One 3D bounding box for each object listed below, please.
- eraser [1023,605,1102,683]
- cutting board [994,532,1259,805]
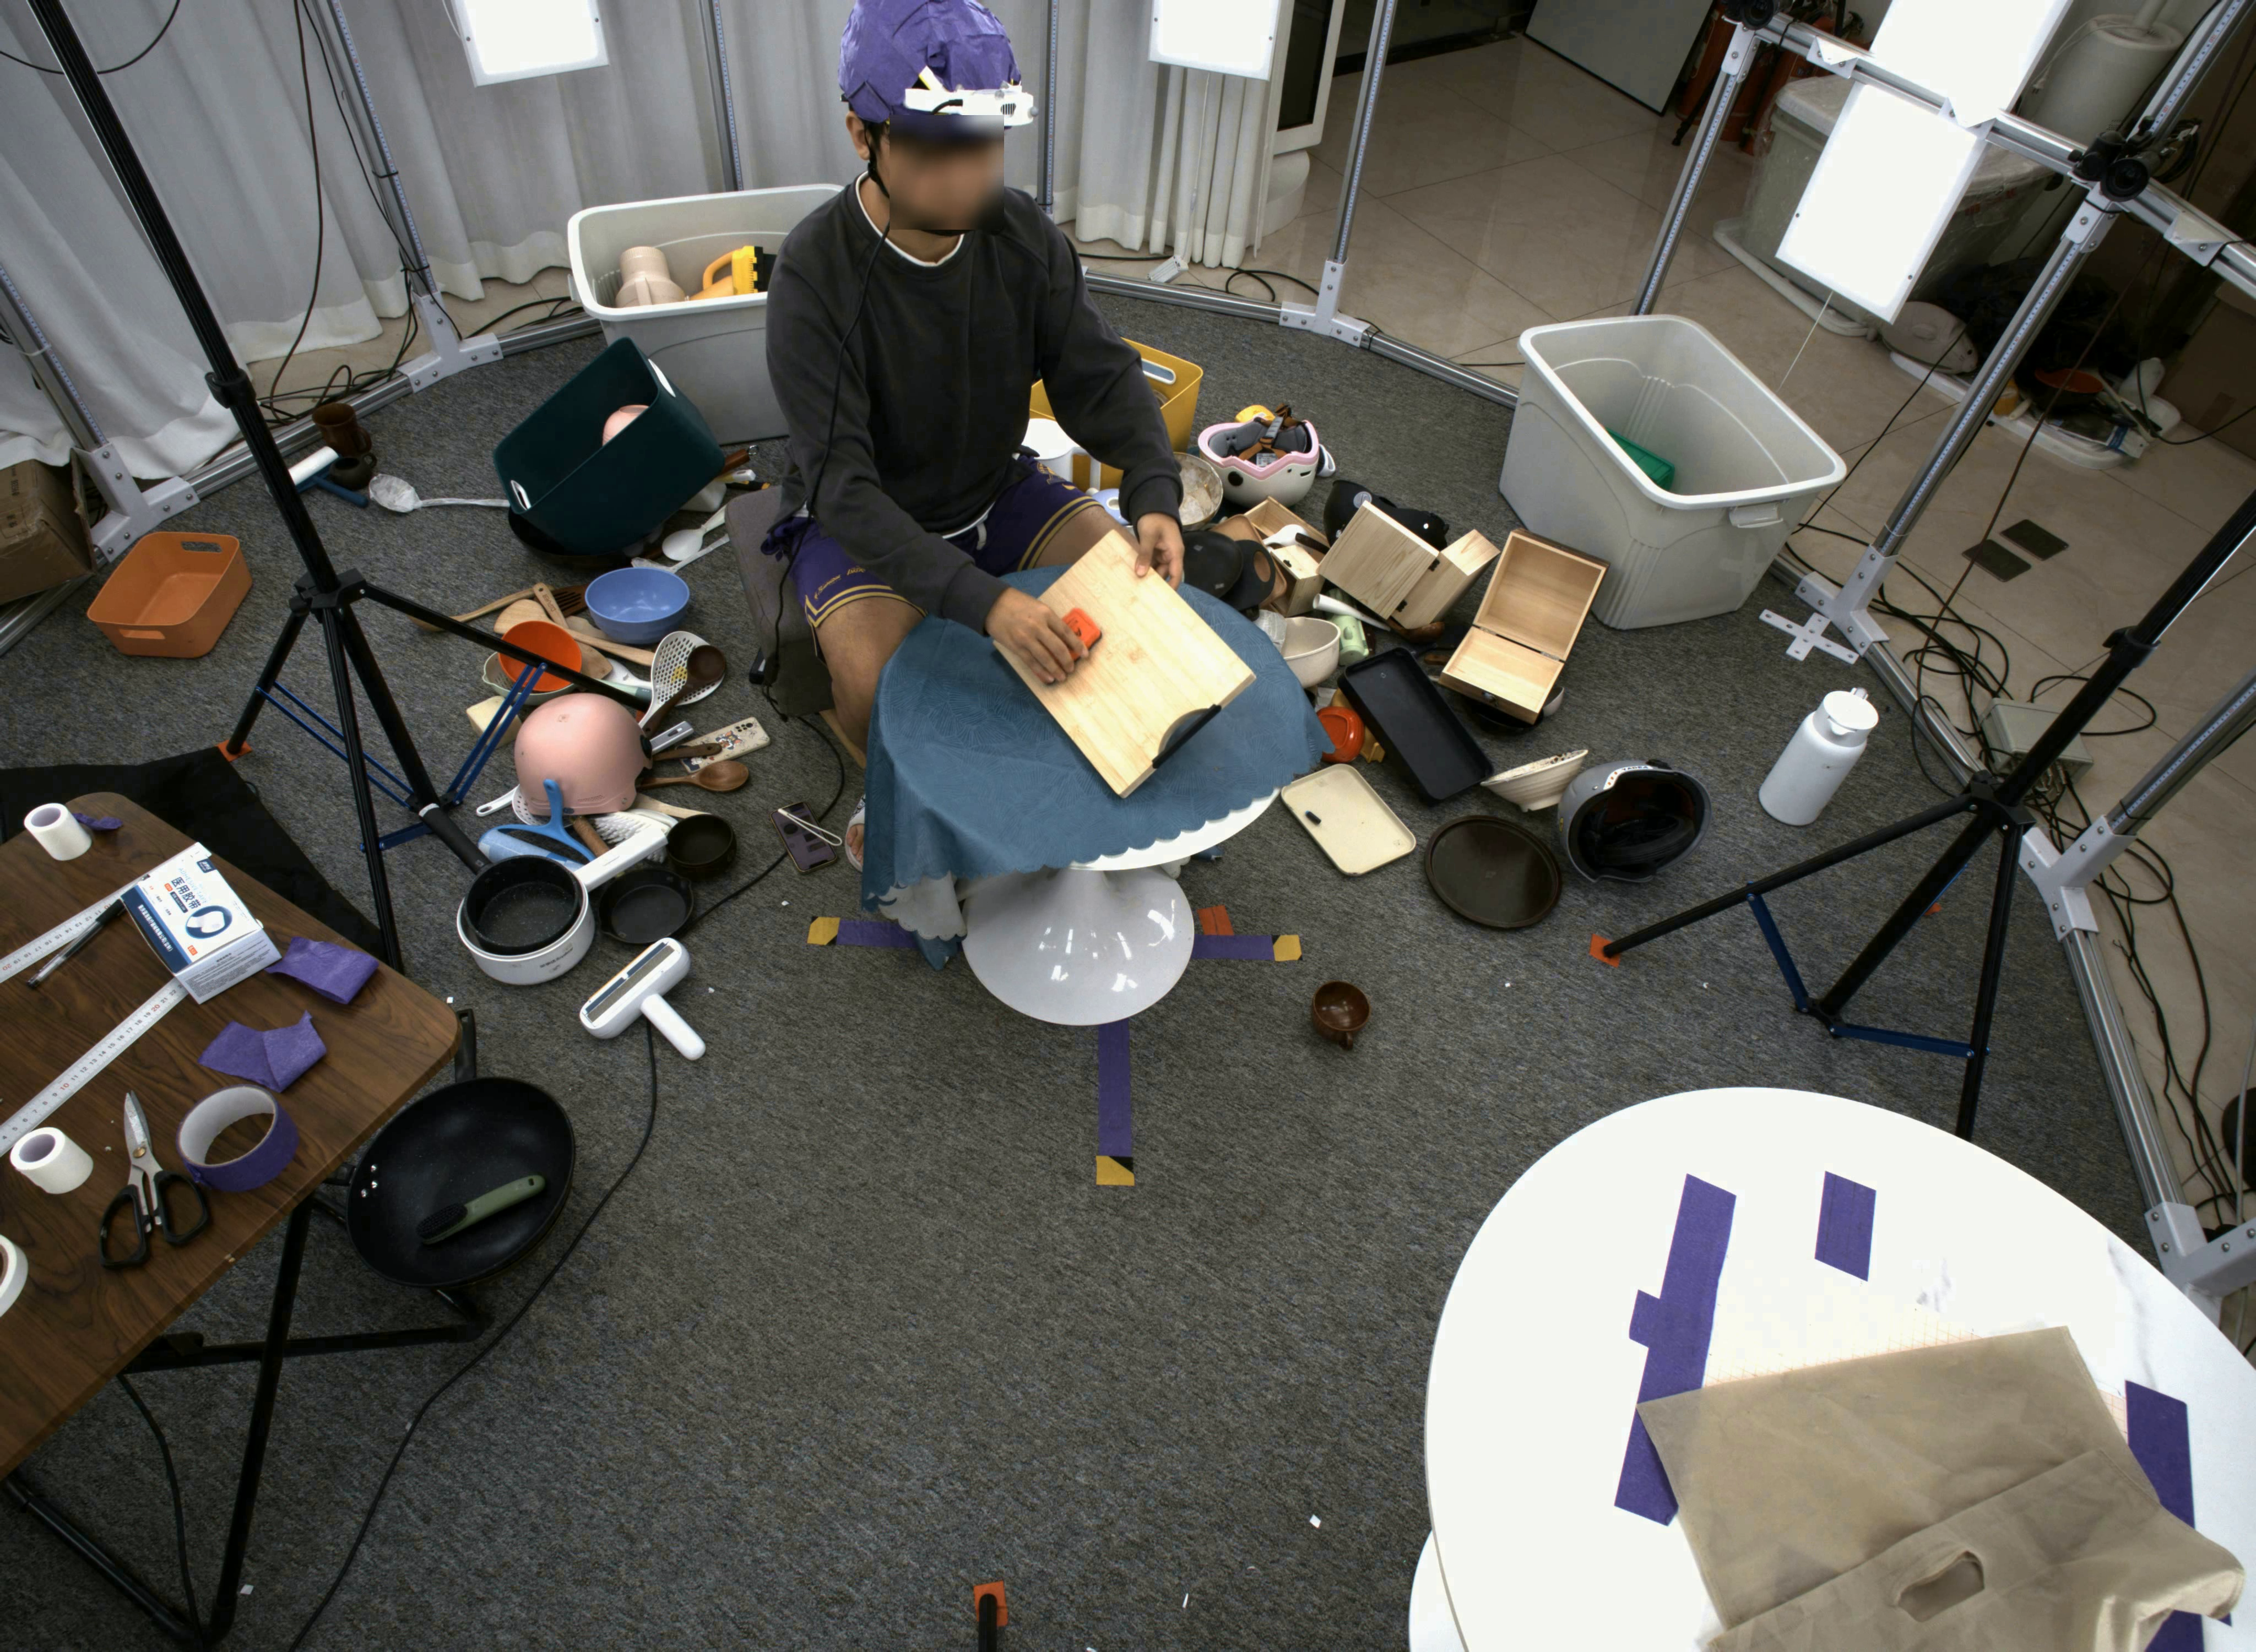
[{"bbox_3d":[-0.092,-0.254,1.793,0.108,0.022,0.060,-43,62,1],"label":"eraser"},{"bbox_3d":[-0.010,-0.227,1.770,0.250,0.023,0.355,-43,57,4],"label":"cutting board"}]
